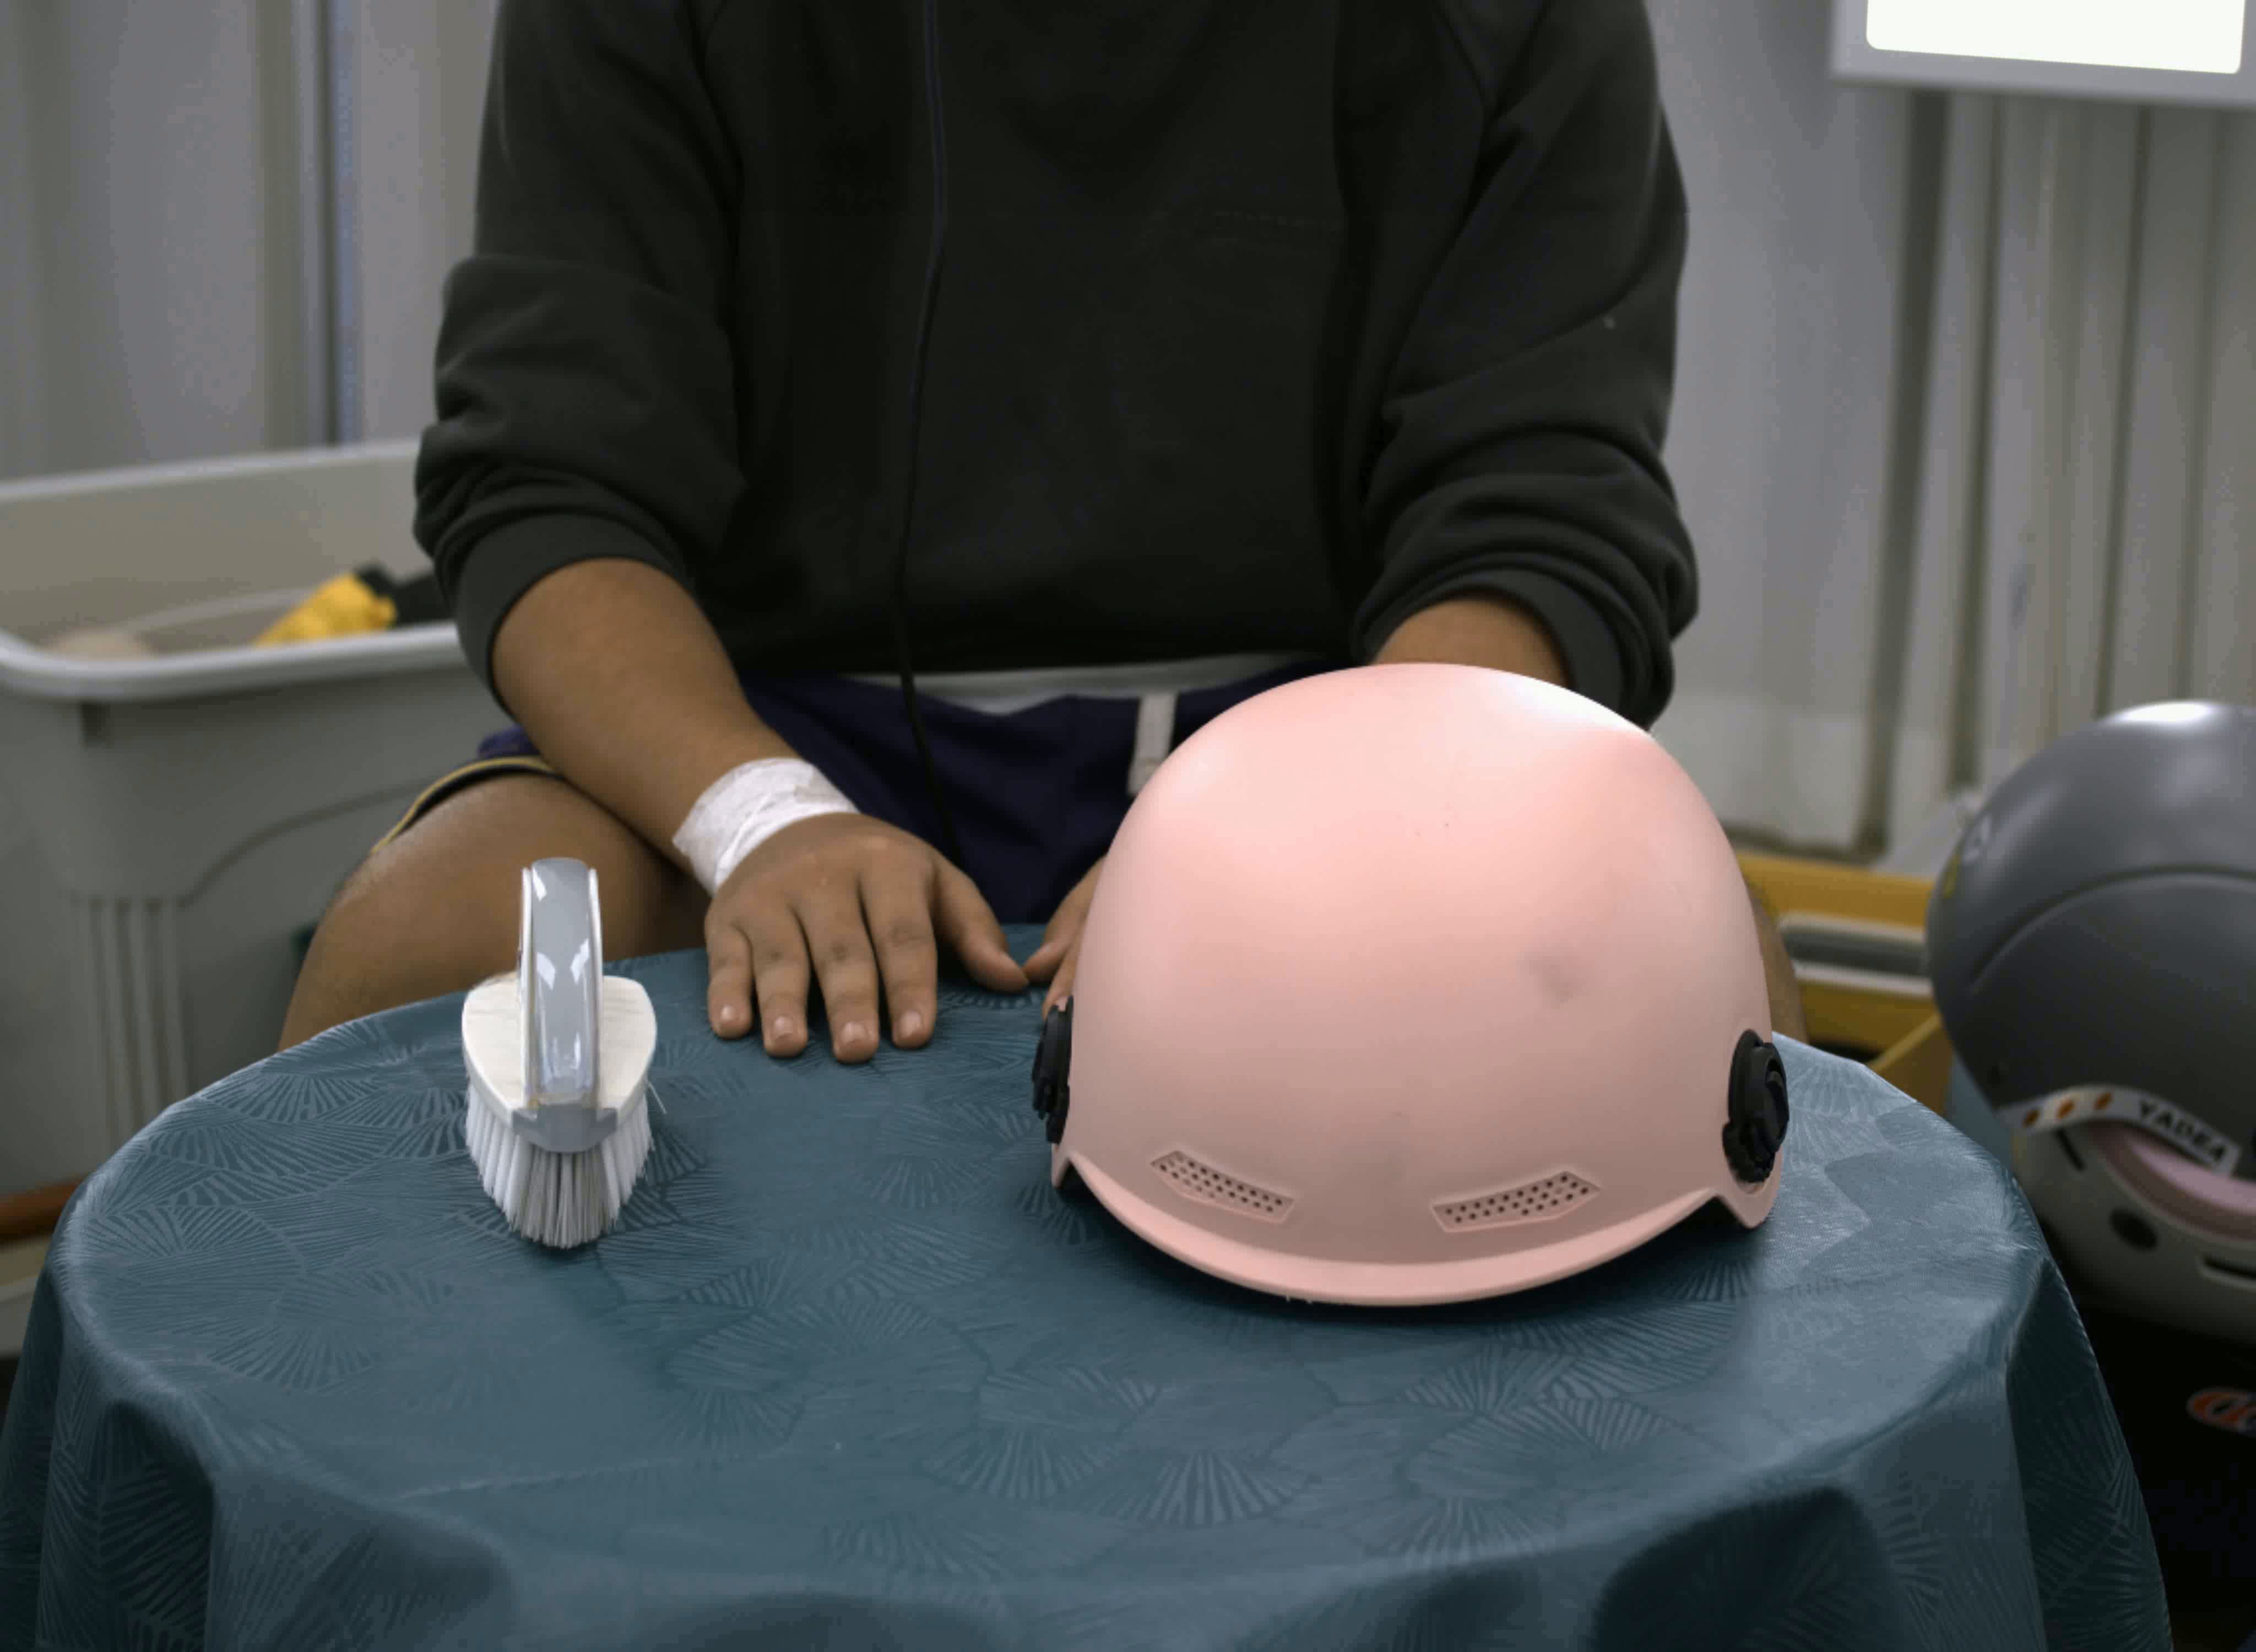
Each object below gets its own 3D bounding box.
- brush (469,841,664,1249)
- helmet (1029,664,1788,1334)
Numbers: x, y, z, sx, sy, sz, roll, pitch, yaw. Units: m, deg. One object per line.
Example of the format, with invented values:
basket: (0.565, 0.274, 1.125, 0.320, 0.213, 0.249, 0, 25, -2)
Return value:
brush: (-0.173, 0.061, 1.628, 0.061, 0.095, 0.174, -2, 18, -6)
helmet: (0.088, 0.038, 1.612, 0.232, 0.160, 0.265, 3, 20, 8)
